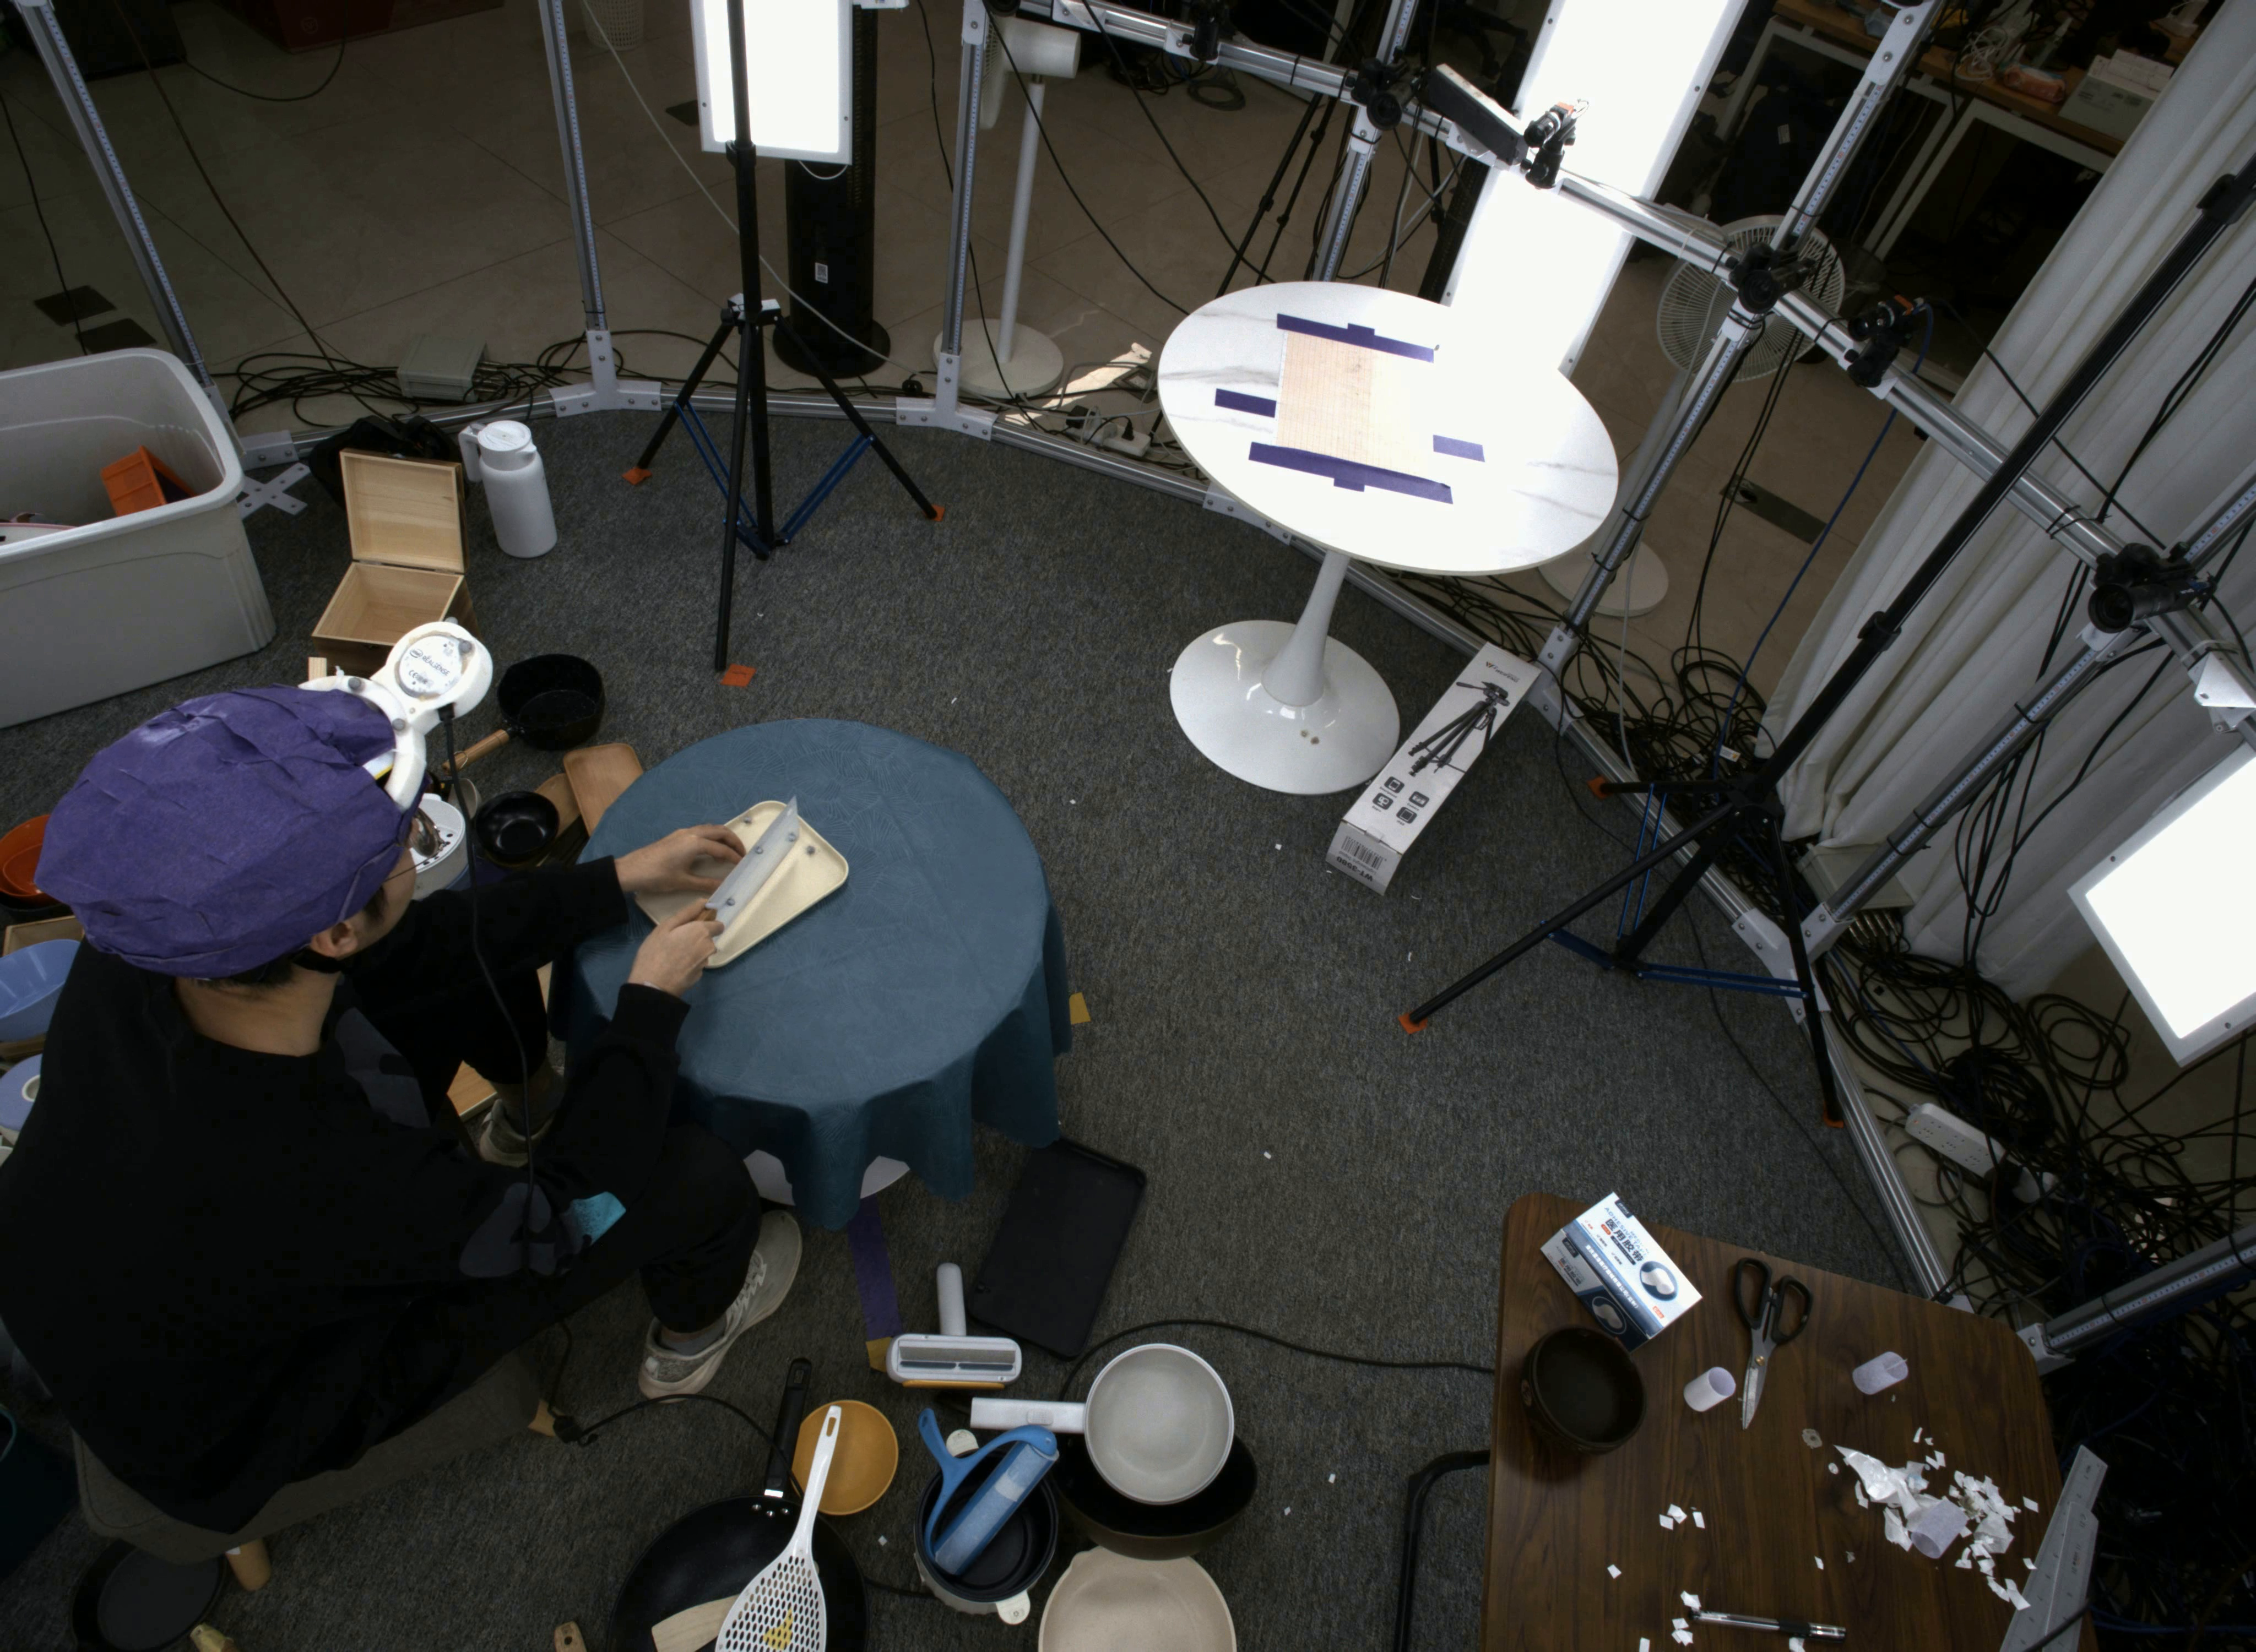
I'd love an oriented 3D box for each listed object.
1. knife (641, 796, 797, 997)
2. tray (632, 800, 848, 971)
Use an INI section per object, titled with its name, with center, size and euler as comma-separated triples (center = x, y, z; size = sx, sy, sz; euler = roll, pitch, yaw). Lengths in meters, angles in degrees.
[knife]
center = -0.479, 0.091, 1.539
size = 0.020, 0.095, 0.304
euler = 23, 52, 9
[tray]
center = -0.488, 0.071, 1.631
size = 0.168, 0.018, 0.240
euler = 42, 54, 15
